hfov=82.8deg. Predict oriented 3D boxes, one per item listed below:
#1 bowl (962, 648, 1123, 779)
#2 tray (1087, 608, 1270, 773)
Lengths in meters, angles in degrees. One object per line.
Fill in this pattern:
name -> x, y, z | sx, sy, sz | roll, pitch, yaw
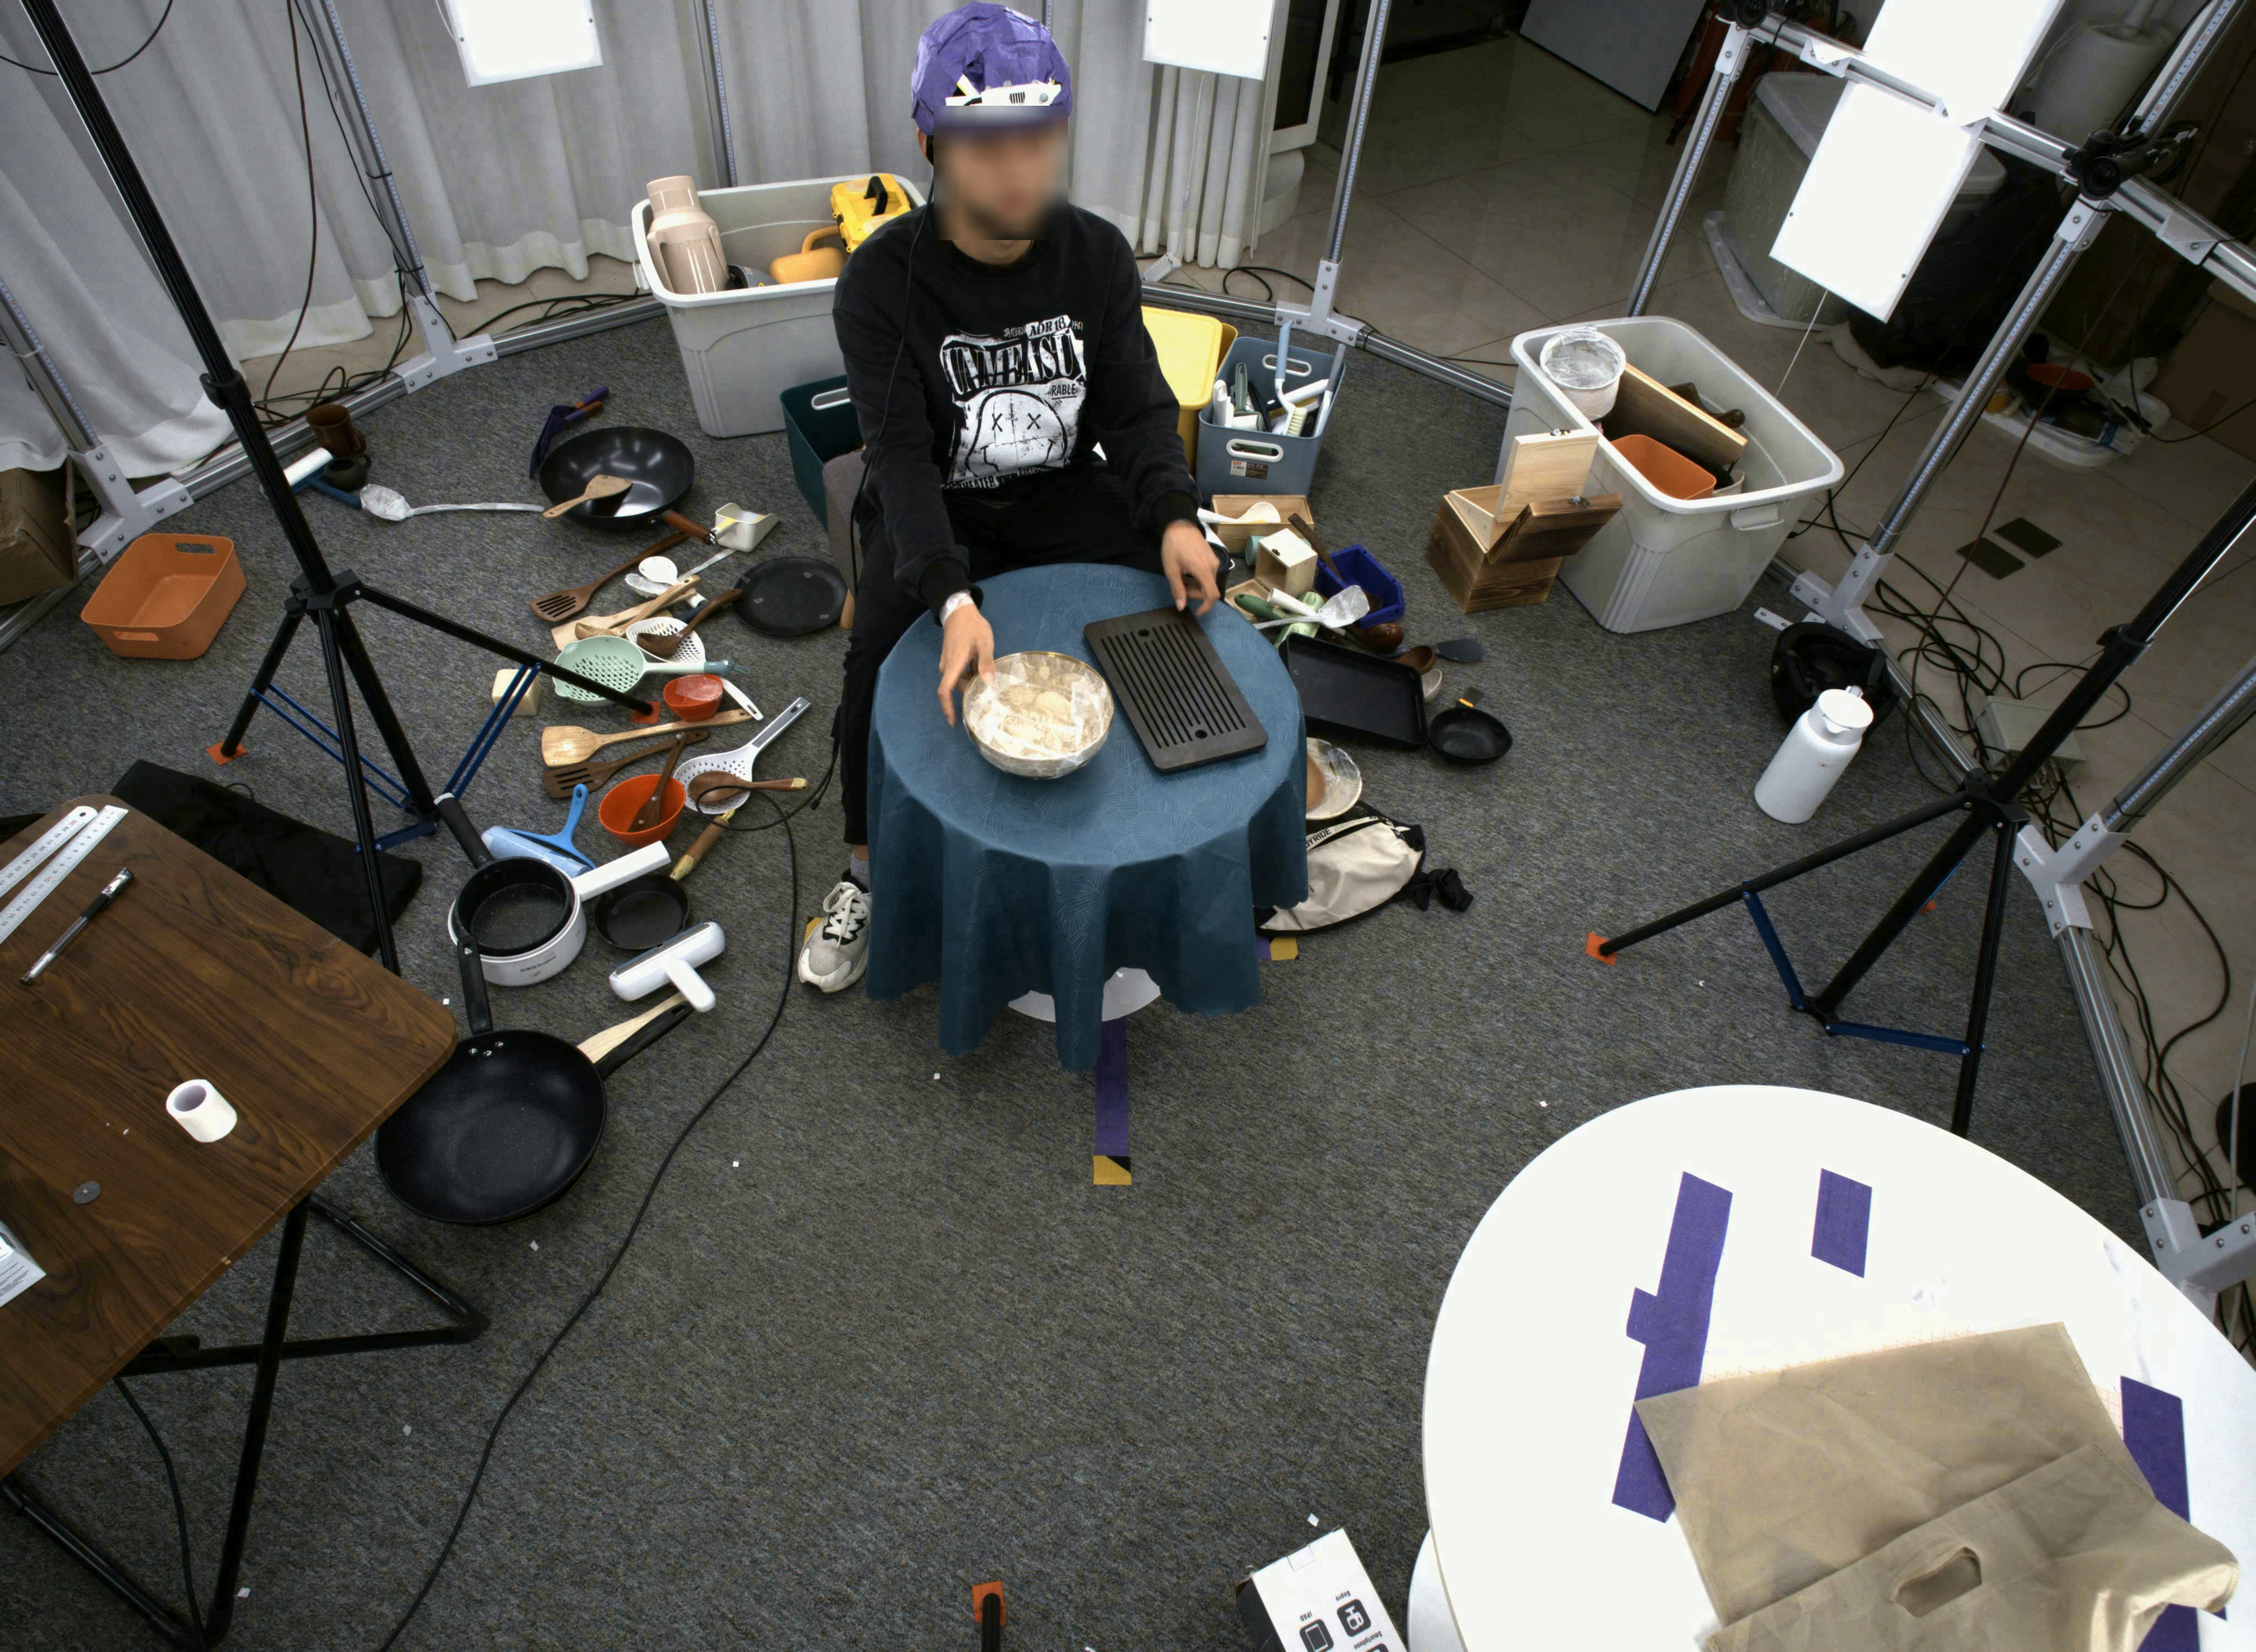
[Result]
bowl -> -0.117, -0.137, 1.735 | 0.214, 0.092, 0.220 | 1, 49, -2
tray -> 0.067, -0.201, 1.852 | 0.170, 0.018, 0.313 | -14, 51, -16
